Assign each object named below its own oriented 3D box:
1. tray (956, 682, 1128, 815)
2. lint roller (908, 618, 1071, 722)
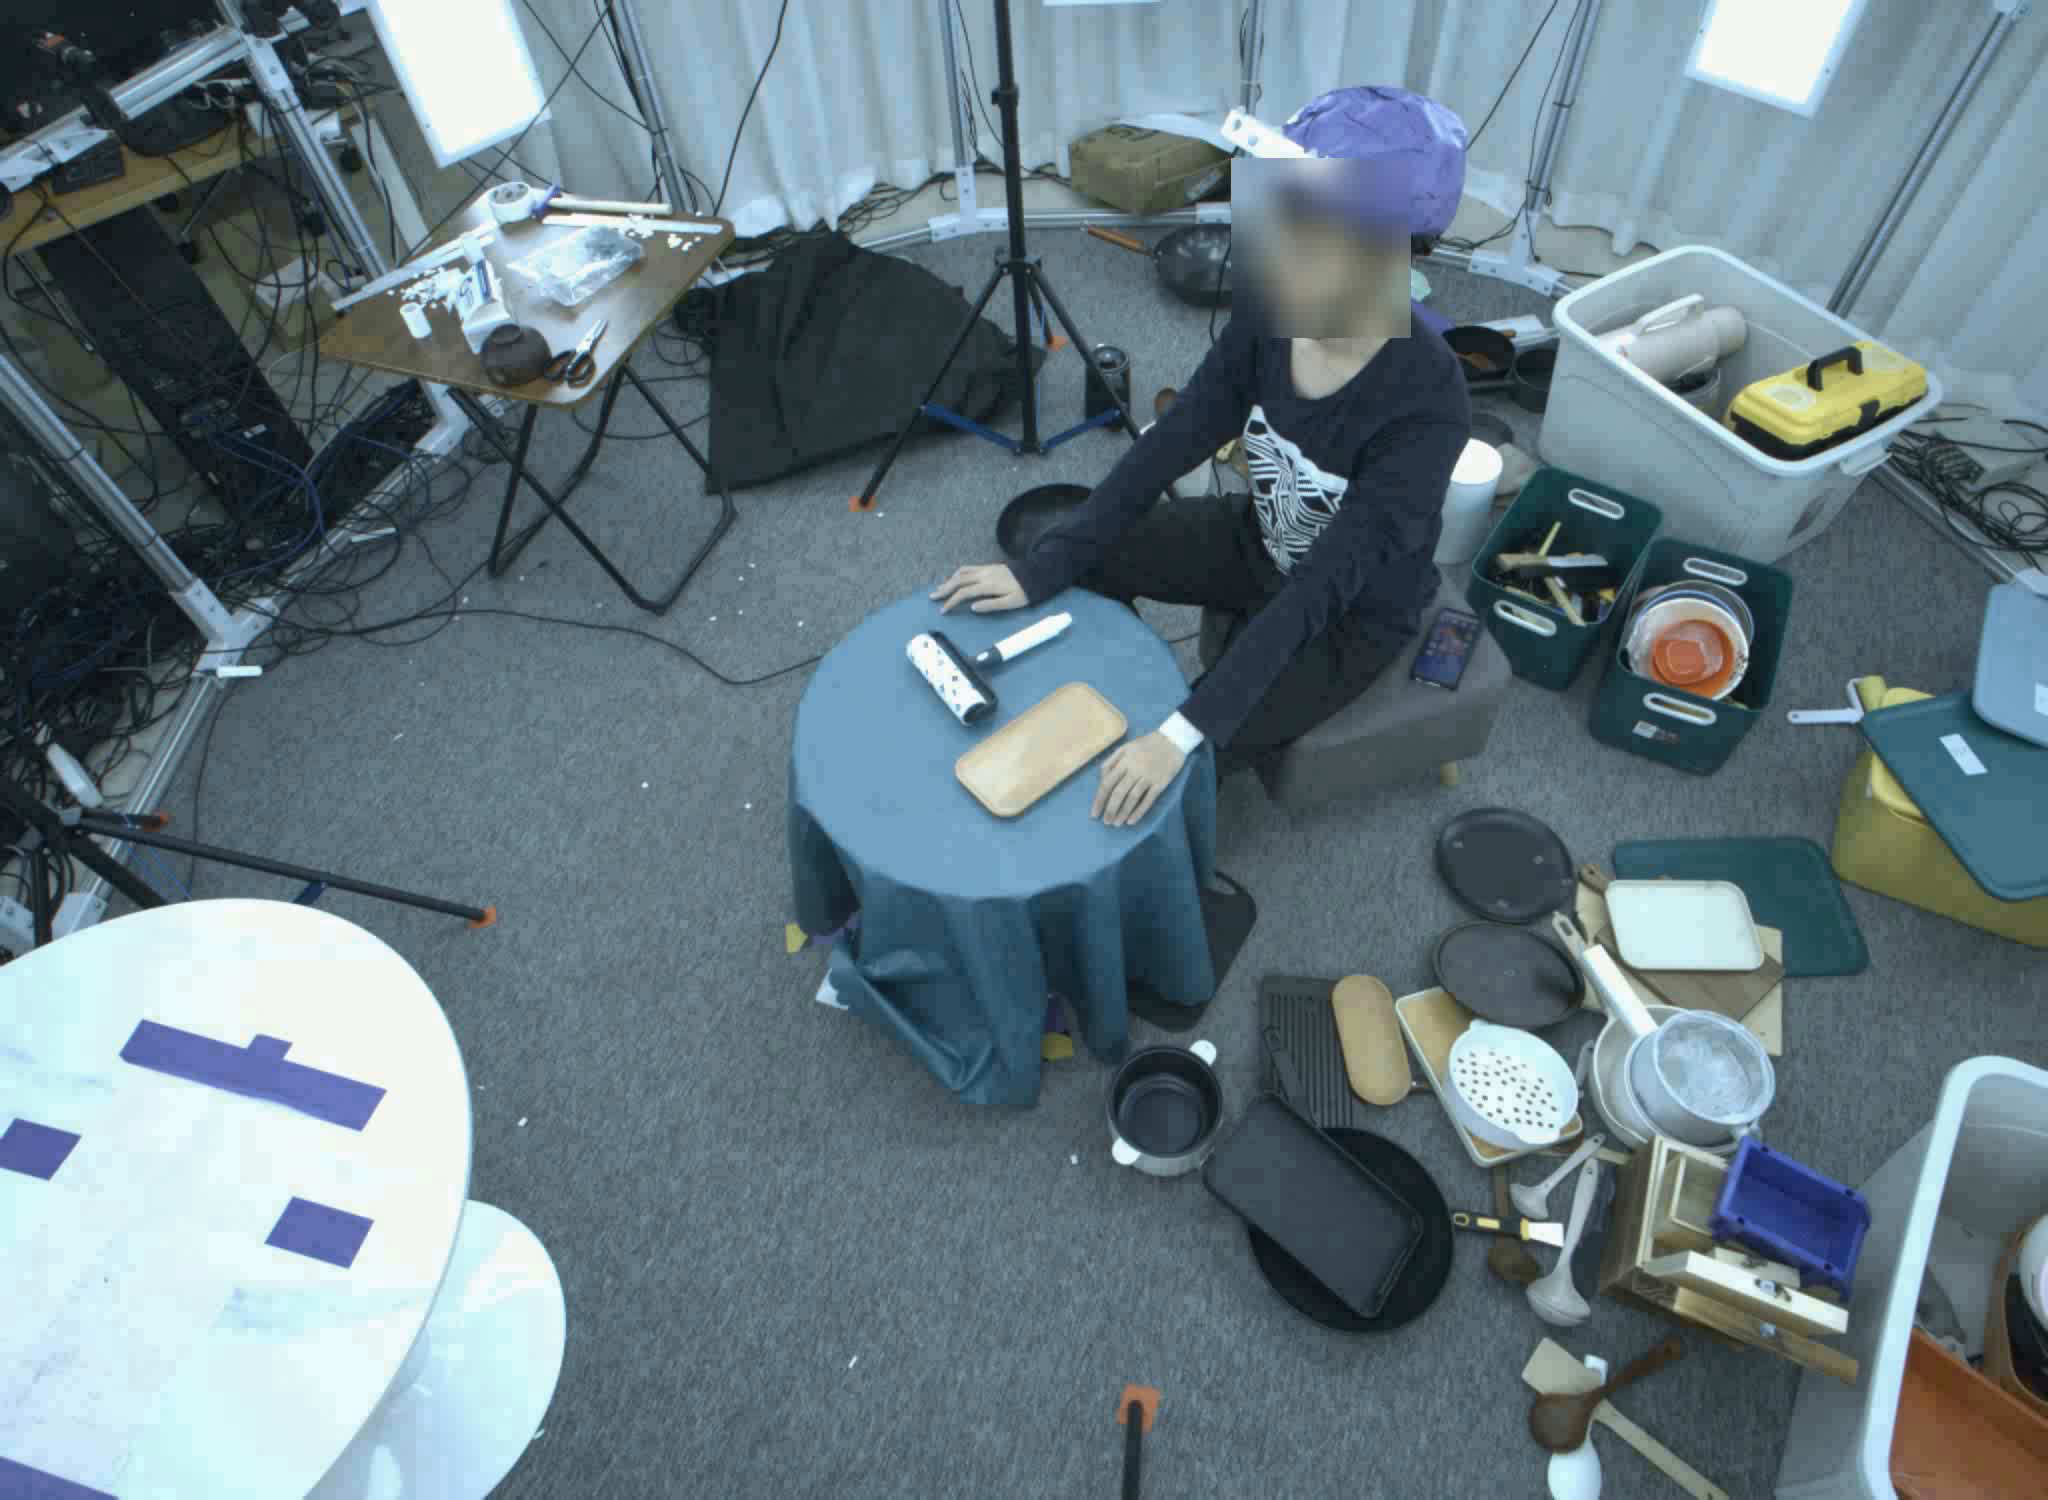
[{"bbox_3d":[0.027,-0.004,1.788,0.253,0.023,0.128,-33,63,-22],"label":"tray"},{"bbox_3d":[-0.034,-0.154,1.882,0.249,0.051,0.173,-28,58,-21],"label":"lint roller"}]
